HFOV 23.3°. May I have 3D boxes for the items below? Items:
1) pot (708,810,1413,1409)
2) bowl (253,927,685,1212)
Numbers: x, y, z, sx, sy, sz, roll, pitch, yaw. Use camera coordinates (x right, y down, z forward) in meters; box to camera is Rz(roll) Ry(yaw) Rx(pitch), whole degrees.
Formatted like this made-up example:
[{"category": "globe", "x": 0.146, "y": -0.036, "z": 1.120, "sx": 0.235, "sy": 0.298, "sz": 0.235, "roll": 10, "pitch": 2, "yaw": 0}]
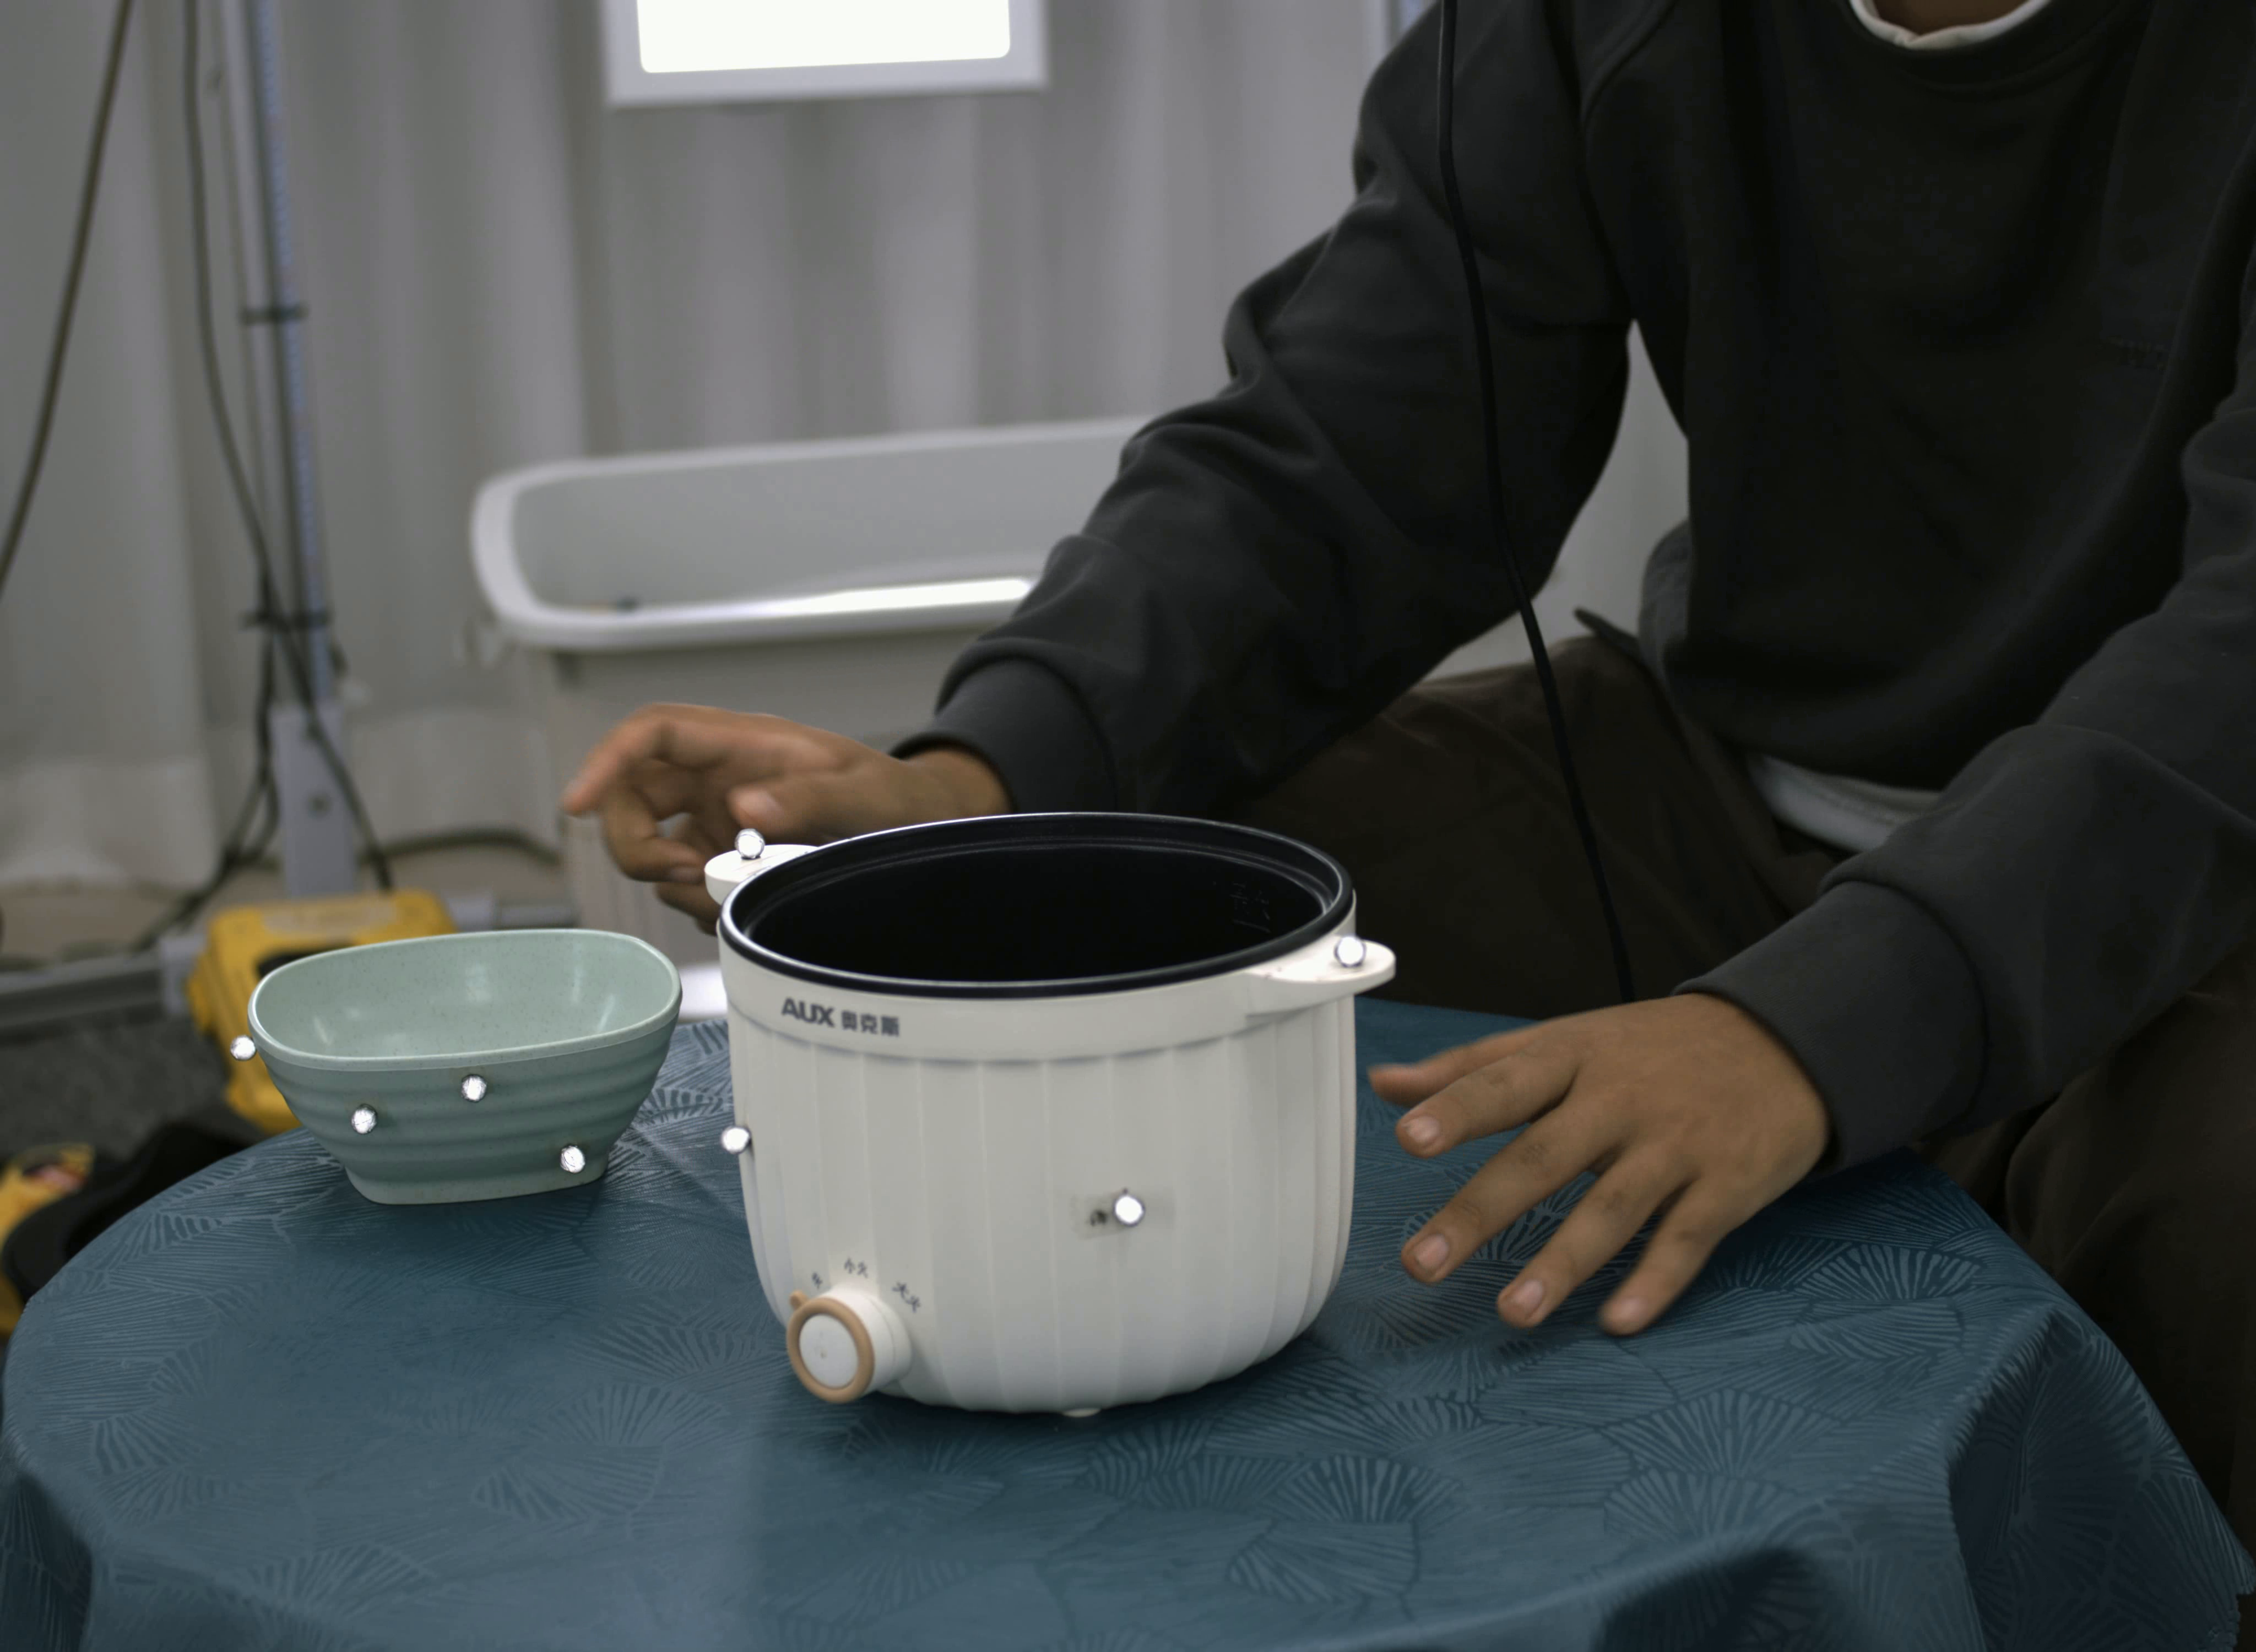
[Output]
[{"category": "pot", "x": -0.023, "y": 0.084, "z": 1.566, "sx": 0.241, "sy": 0.142, "sz": 0.190, "roll": 6, "pitch": 14, "yaw": 36}, {"category": "bowl", "x": -0.211, "y": 0.082, "z": 1.770, "sx": 0.151, "sy": 0.058, "sz": 0.152, "roll": -2, "pitch": 16, "yaw": 0}]
